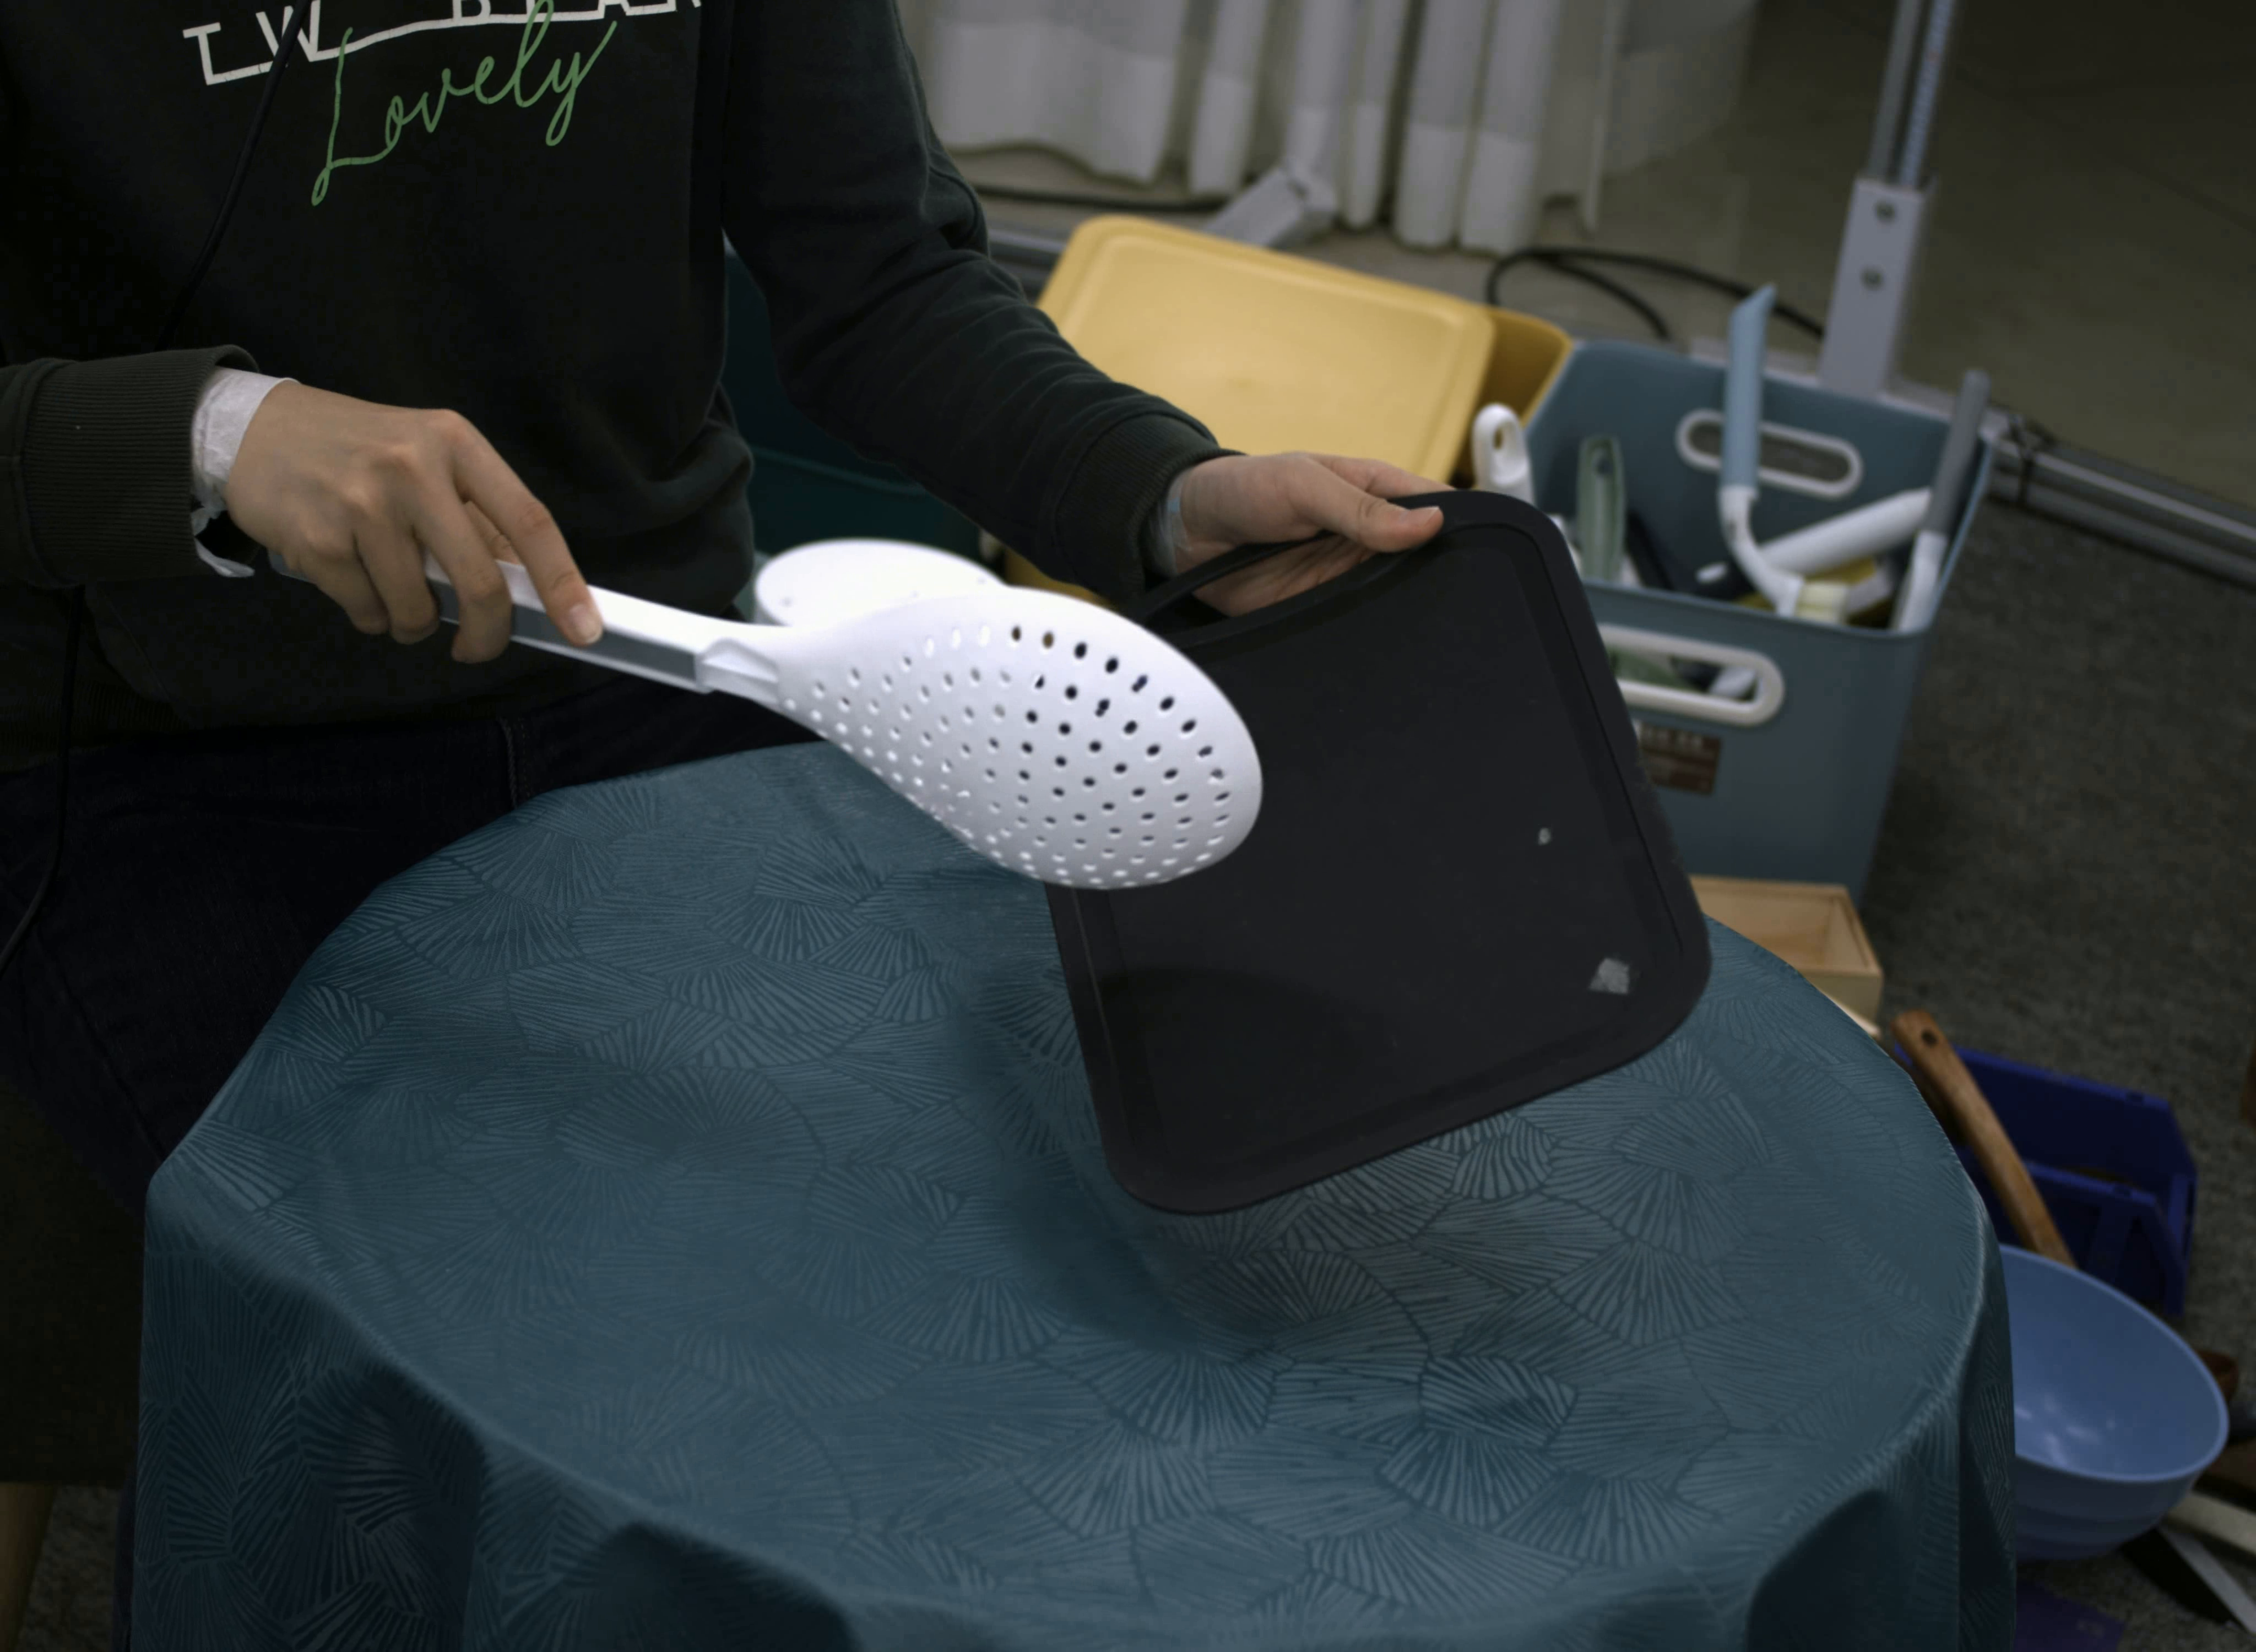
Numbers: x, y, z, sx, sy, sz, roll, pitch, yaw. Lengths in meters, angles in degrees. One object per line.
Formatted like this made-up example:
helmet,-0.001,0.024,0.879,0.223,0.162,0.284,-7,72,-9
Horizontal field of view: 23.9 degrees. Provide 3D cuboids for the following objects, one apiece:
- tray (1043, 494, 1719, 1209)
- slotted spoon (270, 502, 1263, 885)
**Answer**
tray,0.073,-0.003,1.806,0.211,0.010,0.328,-21,39,6
slotted spoon,-0.124,-0.054,1.759,0.350,0.135,0.046,19,51,17
